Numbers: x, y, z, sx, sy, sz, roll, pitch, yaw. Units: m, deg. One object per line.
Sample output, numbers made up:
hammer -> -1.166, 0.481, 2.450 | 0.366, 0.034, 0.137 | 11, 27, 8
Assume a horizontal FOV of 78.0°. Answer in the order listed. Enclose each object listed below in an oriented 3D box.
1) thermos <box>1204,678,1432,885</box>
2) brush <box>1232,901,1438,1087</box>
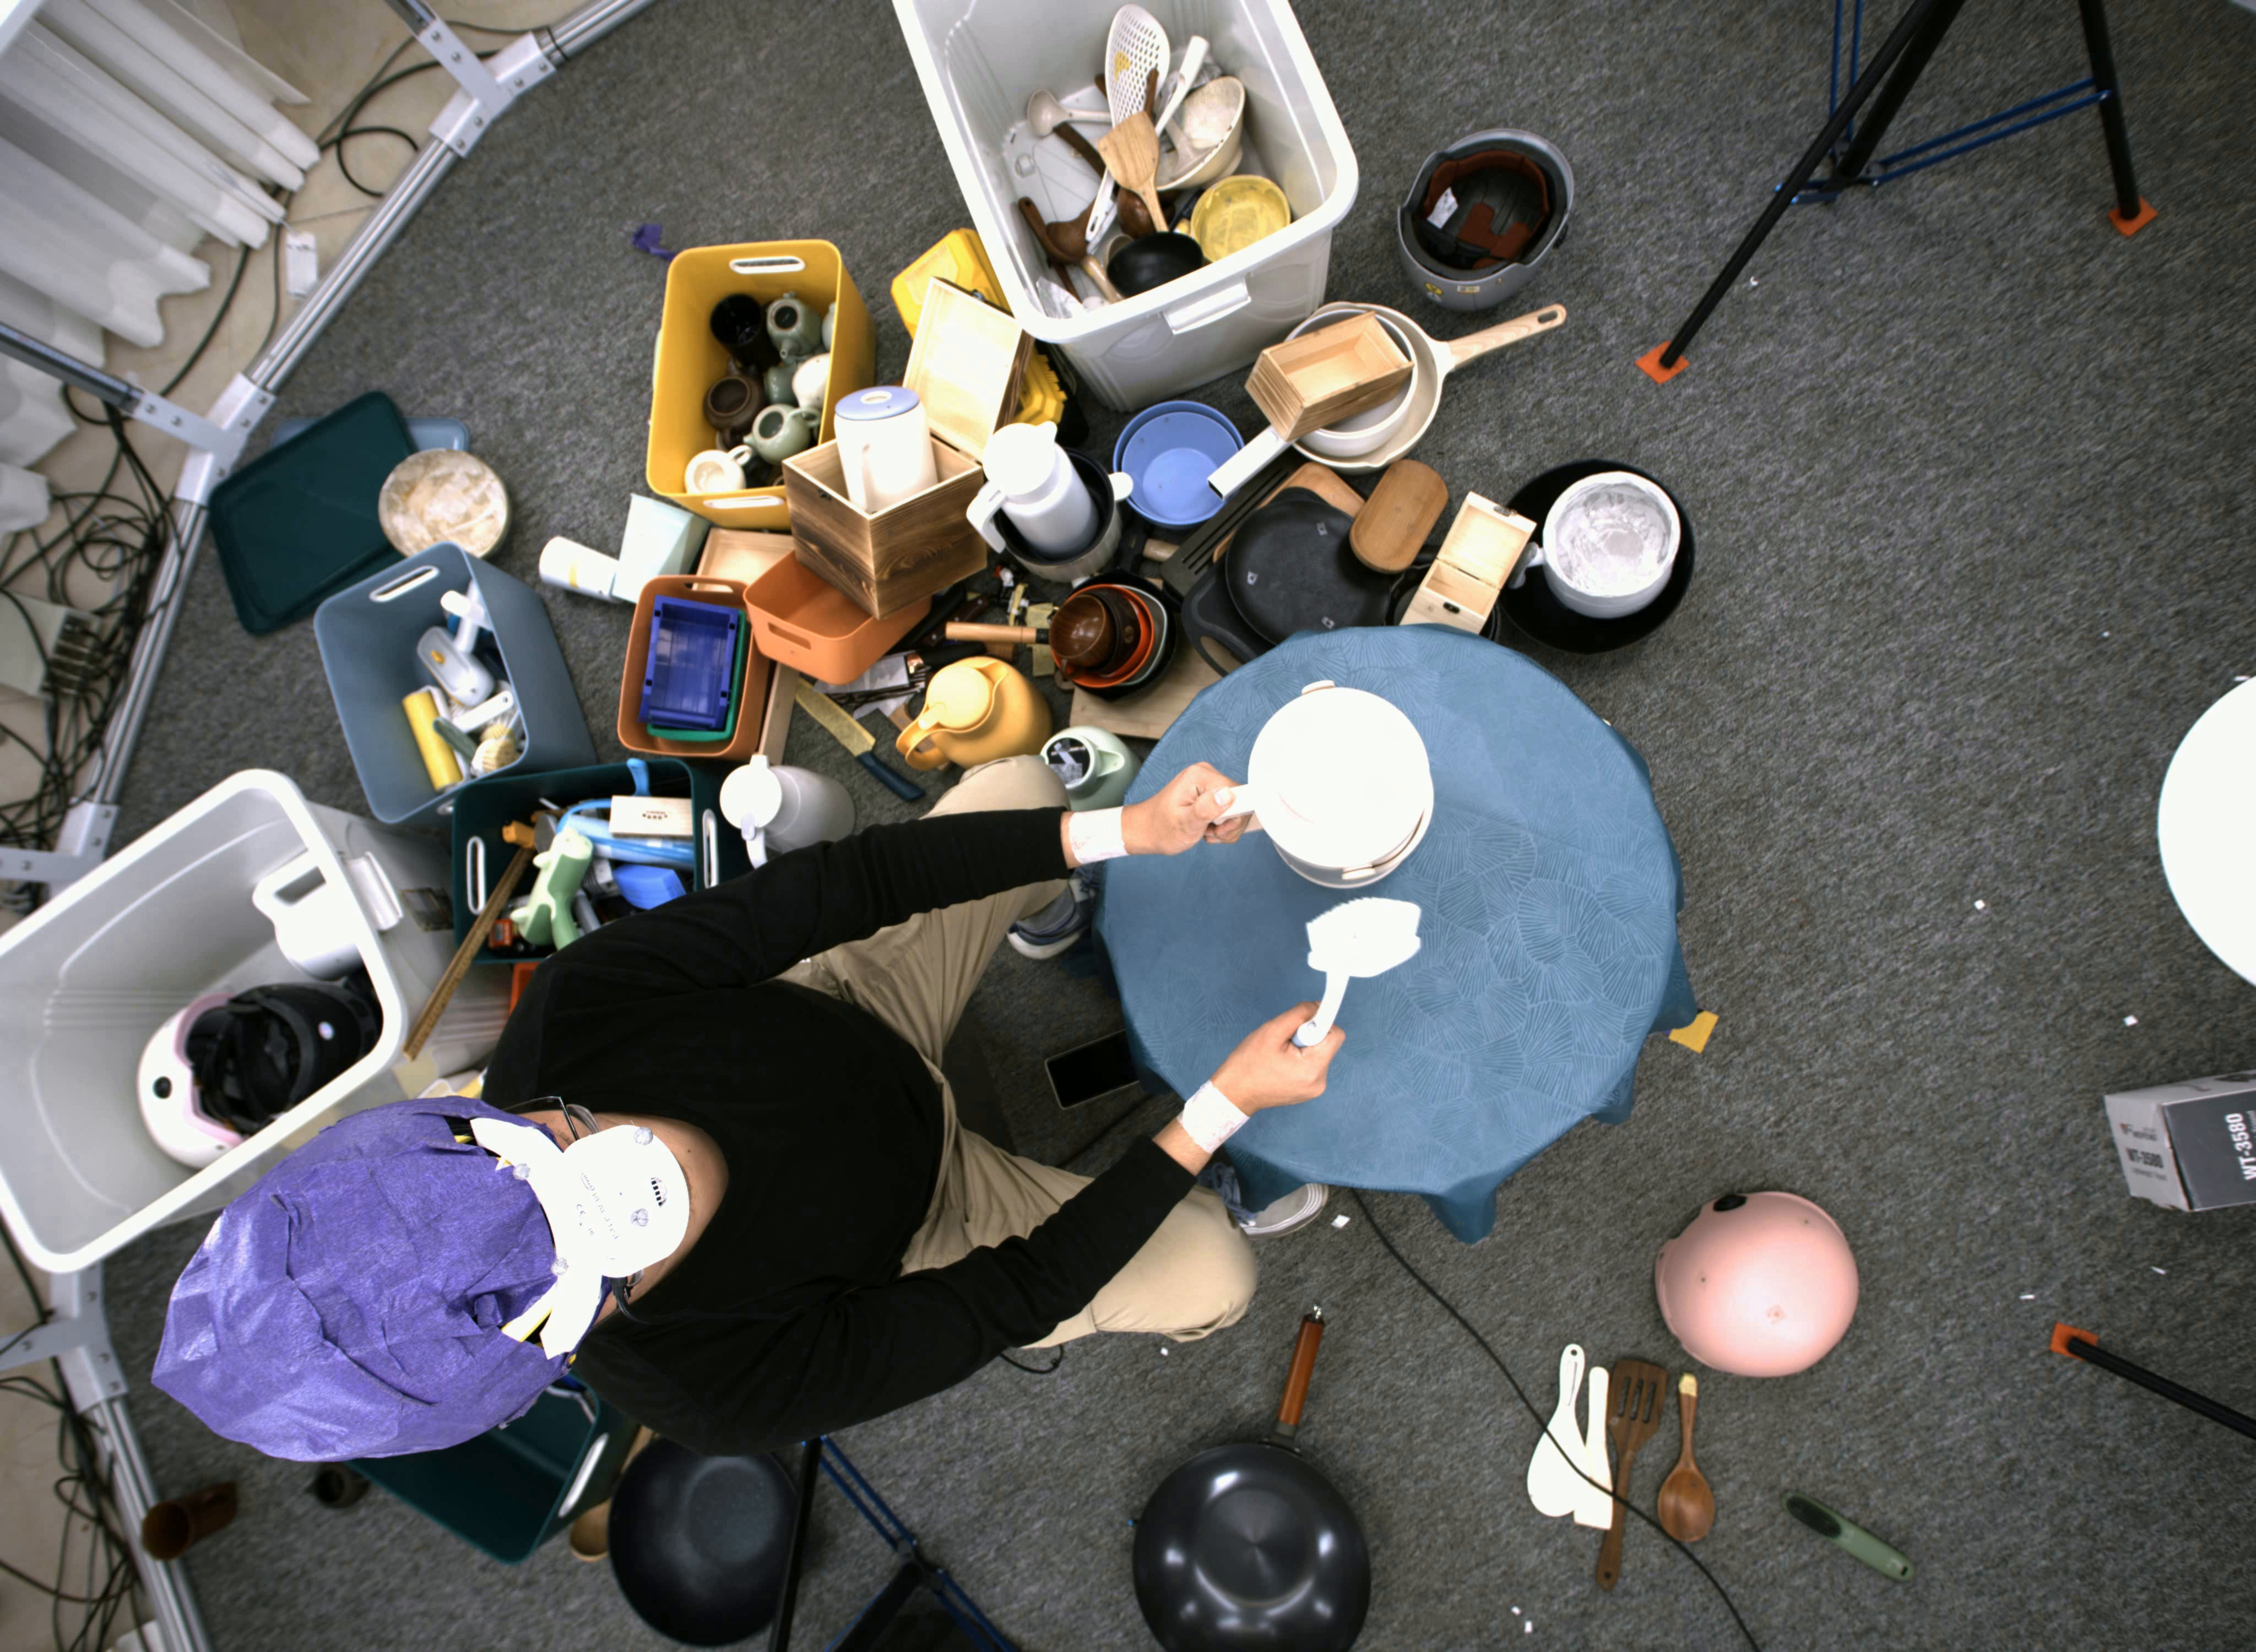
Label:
thermos -> 0.181, -0.034, 1.281 | 0.208, 0.406, 0.174 | -13, 84, 8
brush -> 0.180, 0.144, 1.300 | 0.083, 0.333, 0.082 | 45, 50, 4
